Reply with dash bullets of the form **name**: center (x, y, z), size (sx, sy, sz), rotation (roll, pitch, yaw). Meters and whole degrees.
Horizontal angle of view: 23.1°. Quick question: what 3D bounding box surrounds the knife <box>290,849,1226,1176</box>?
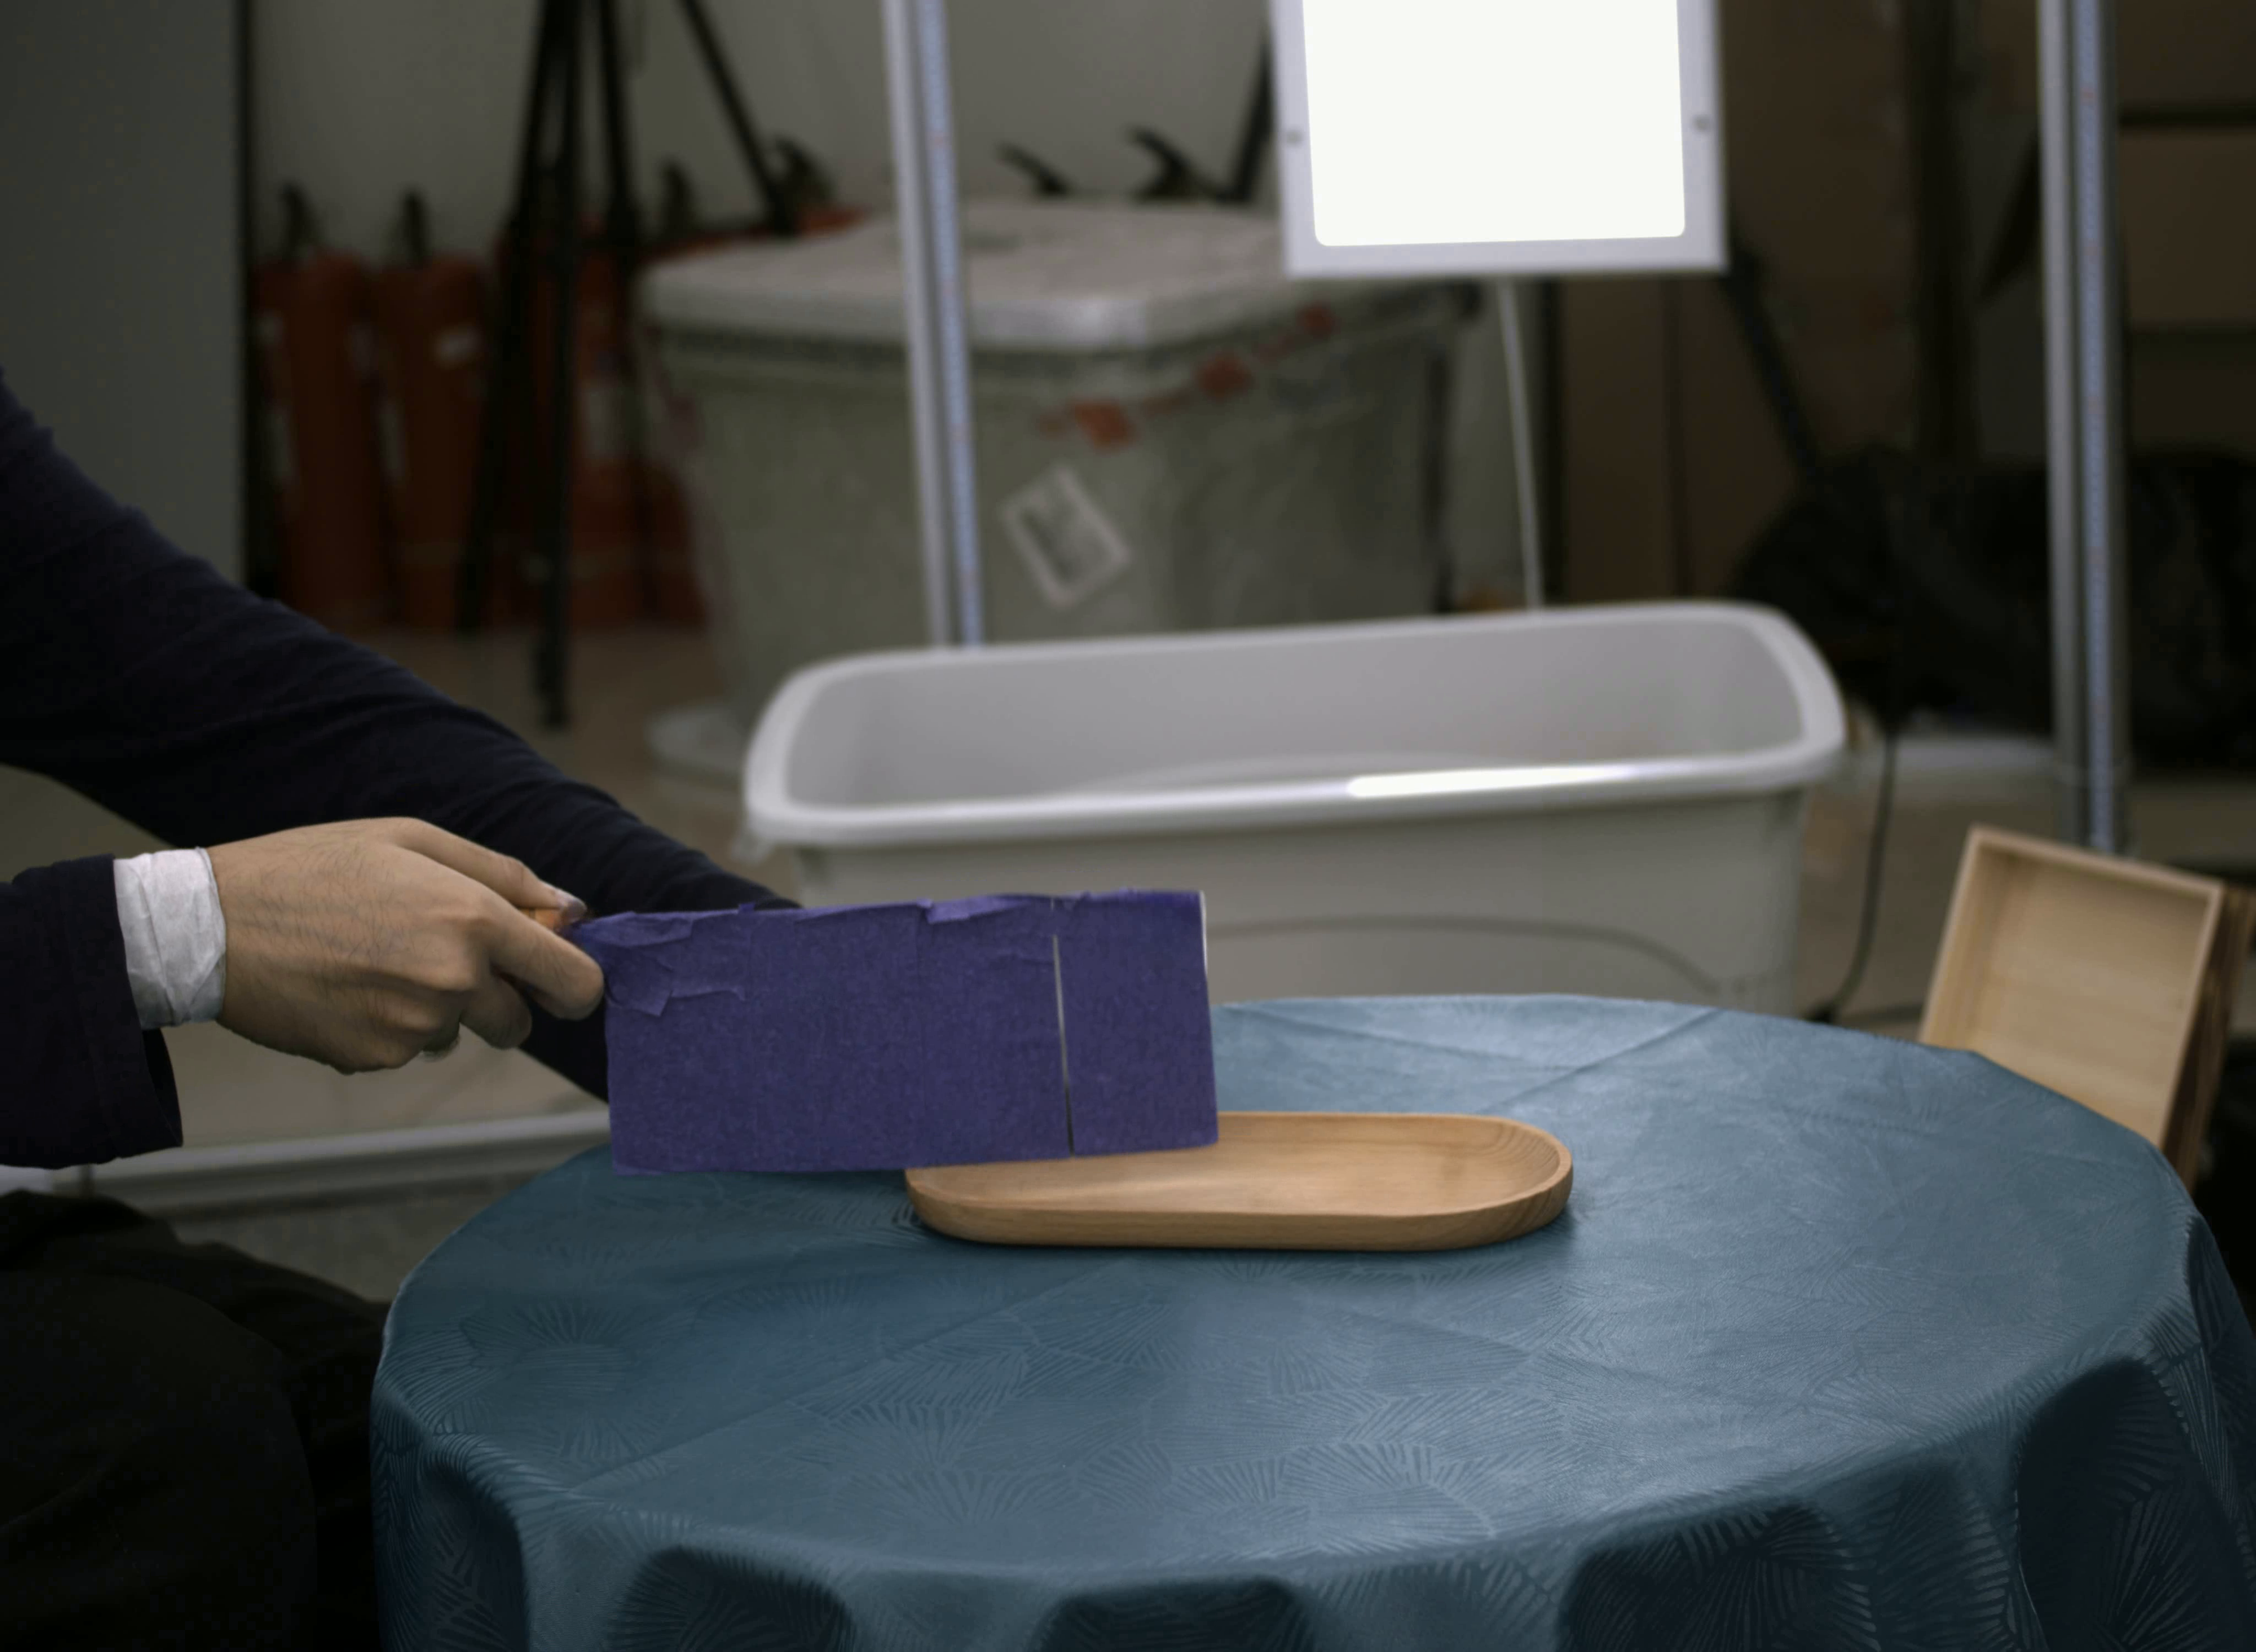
- **knife**: center (-0.124, 0.070, 1.868), size (0.315, 0.104, 0.032), rotation (-4, 3, 2)

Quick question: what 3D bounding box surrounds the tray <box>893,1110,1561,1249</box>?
- **tray**: center (0.033, 0.121, 1.872), size (0.233, 0.020, 0.100), rotation (-3, 15, 16)
